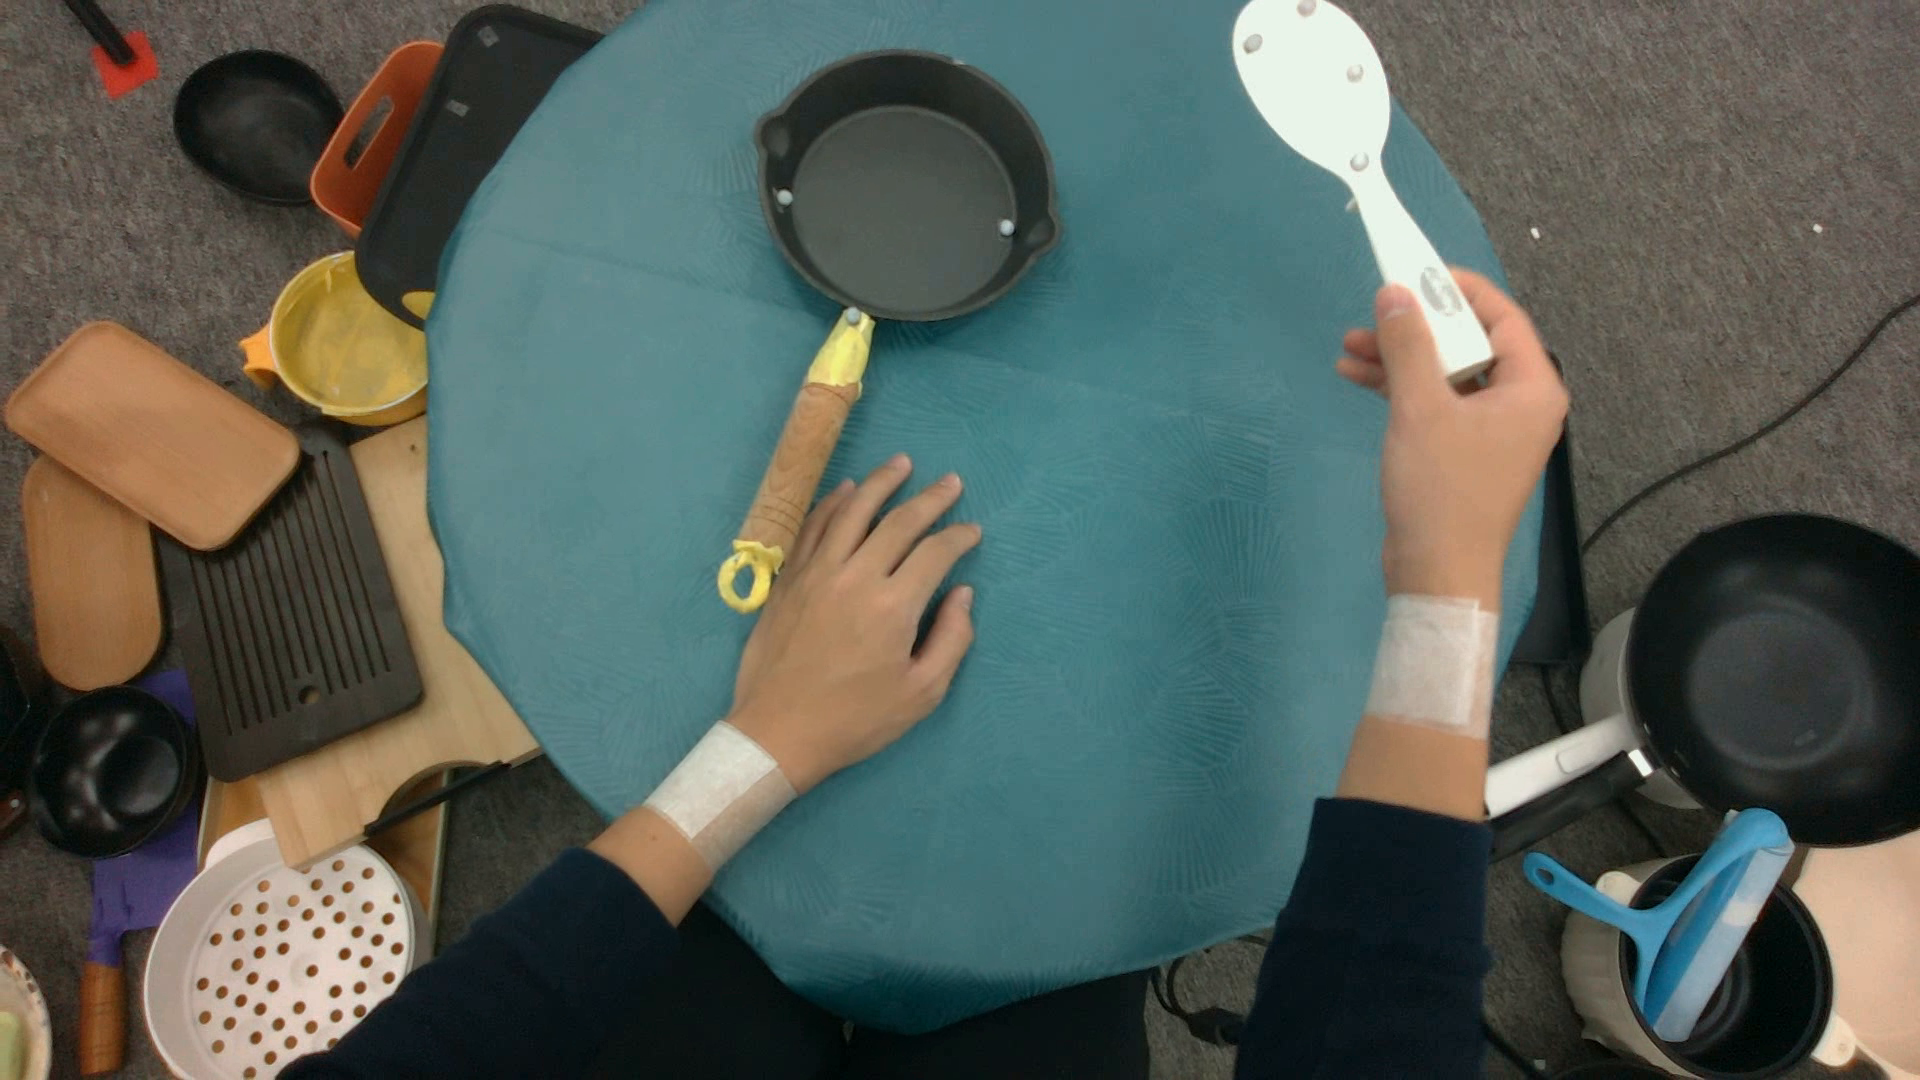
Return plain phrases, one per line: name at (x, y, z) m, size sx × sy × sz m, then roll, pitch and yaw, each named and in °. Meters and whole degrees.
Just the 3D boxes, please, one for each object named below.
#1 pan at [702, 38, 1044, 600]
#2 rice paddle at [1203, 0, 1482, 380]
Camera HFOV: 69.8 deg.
pan at (-0.064, -0.117, 0.707) m, size 0.169 × 0.049 × 0.325 m, roll 21°, pitch 72°, yaw -2°
rice paddle at (0.170, -0.168, 0.613) m, size 0.069 × 0.029 × 0.205 m, roll -21°, pitch 78°, yaw -12°
